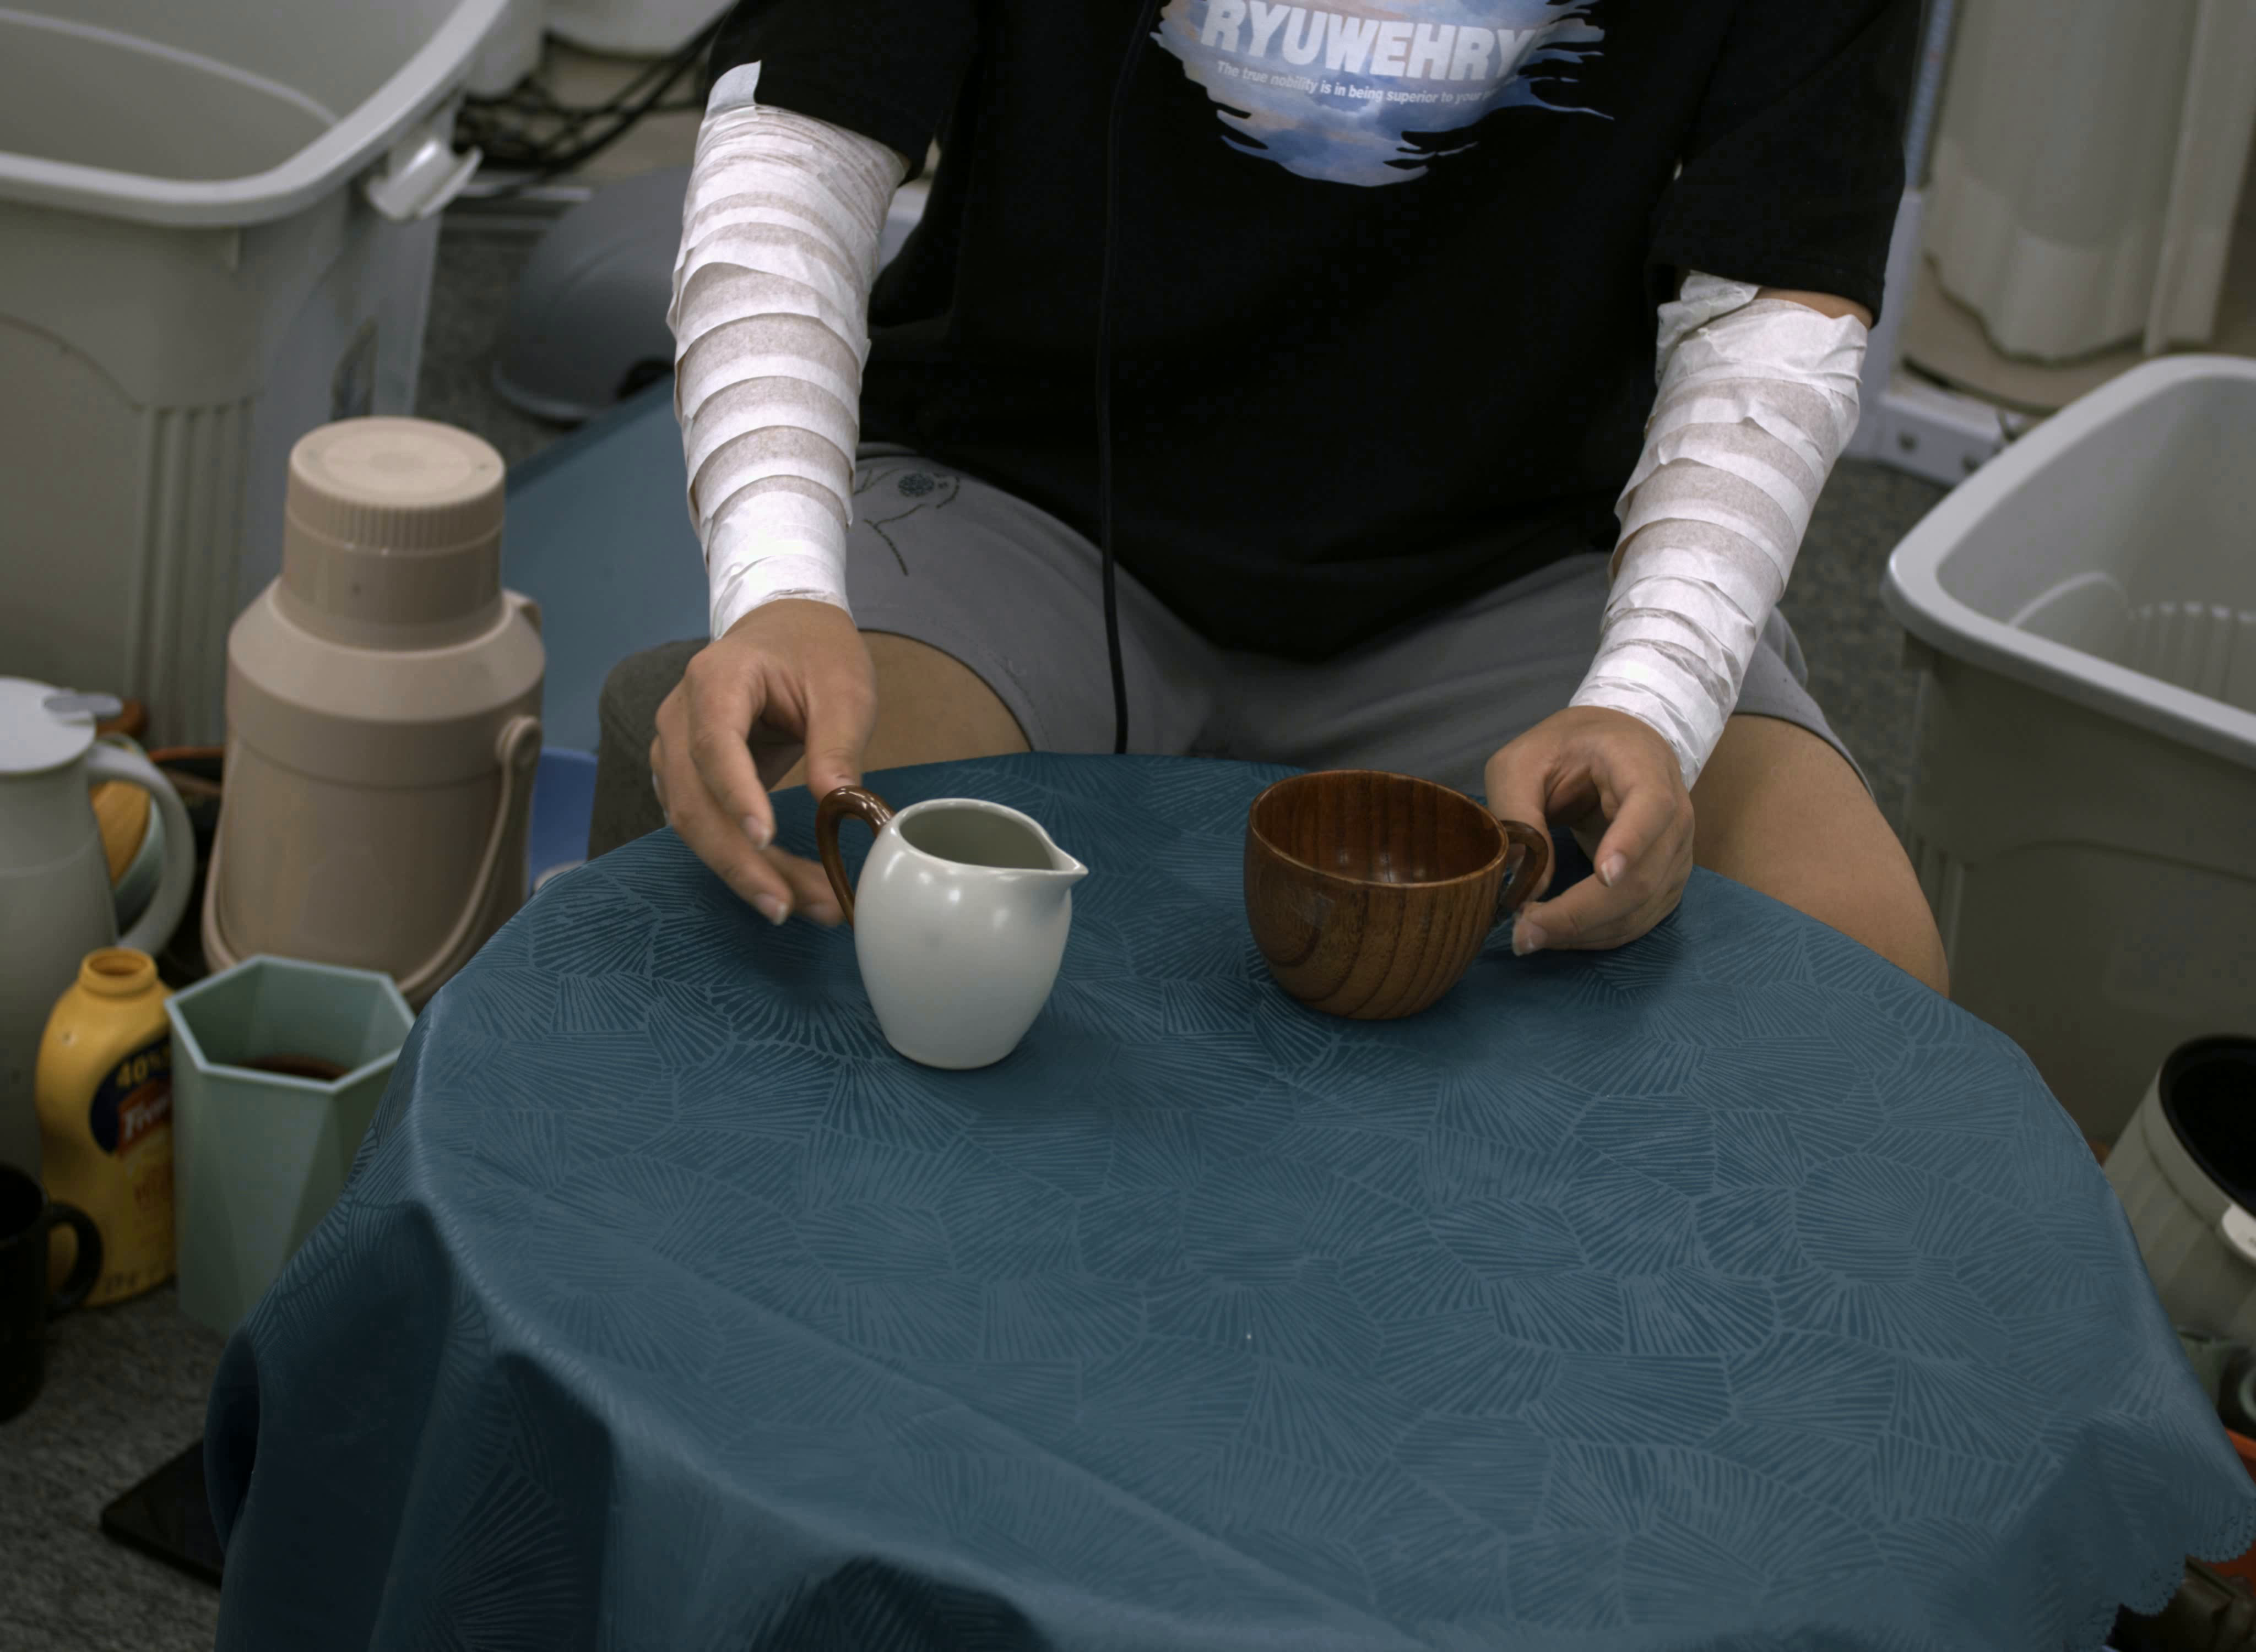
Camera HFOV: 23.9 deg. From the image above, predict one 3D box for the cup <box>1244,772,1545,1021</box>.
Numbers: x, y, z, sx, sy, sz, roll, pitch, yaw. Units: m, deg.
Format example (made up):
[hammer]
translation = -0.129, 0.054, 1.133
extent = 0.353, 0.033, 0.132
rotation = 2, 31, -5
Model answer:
[cup]
translation = 0.099, 0.028, 1.944
extent = 0.118, 0.067, 0.097
rotation = -4, 25, -24

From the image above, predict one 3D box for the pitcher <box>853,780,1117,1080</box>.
[pitcher]
translation = -0.057, 0.037, 1.864
extent = 0.120, 0.087, 0.075
rotation = 31, 30, 33
